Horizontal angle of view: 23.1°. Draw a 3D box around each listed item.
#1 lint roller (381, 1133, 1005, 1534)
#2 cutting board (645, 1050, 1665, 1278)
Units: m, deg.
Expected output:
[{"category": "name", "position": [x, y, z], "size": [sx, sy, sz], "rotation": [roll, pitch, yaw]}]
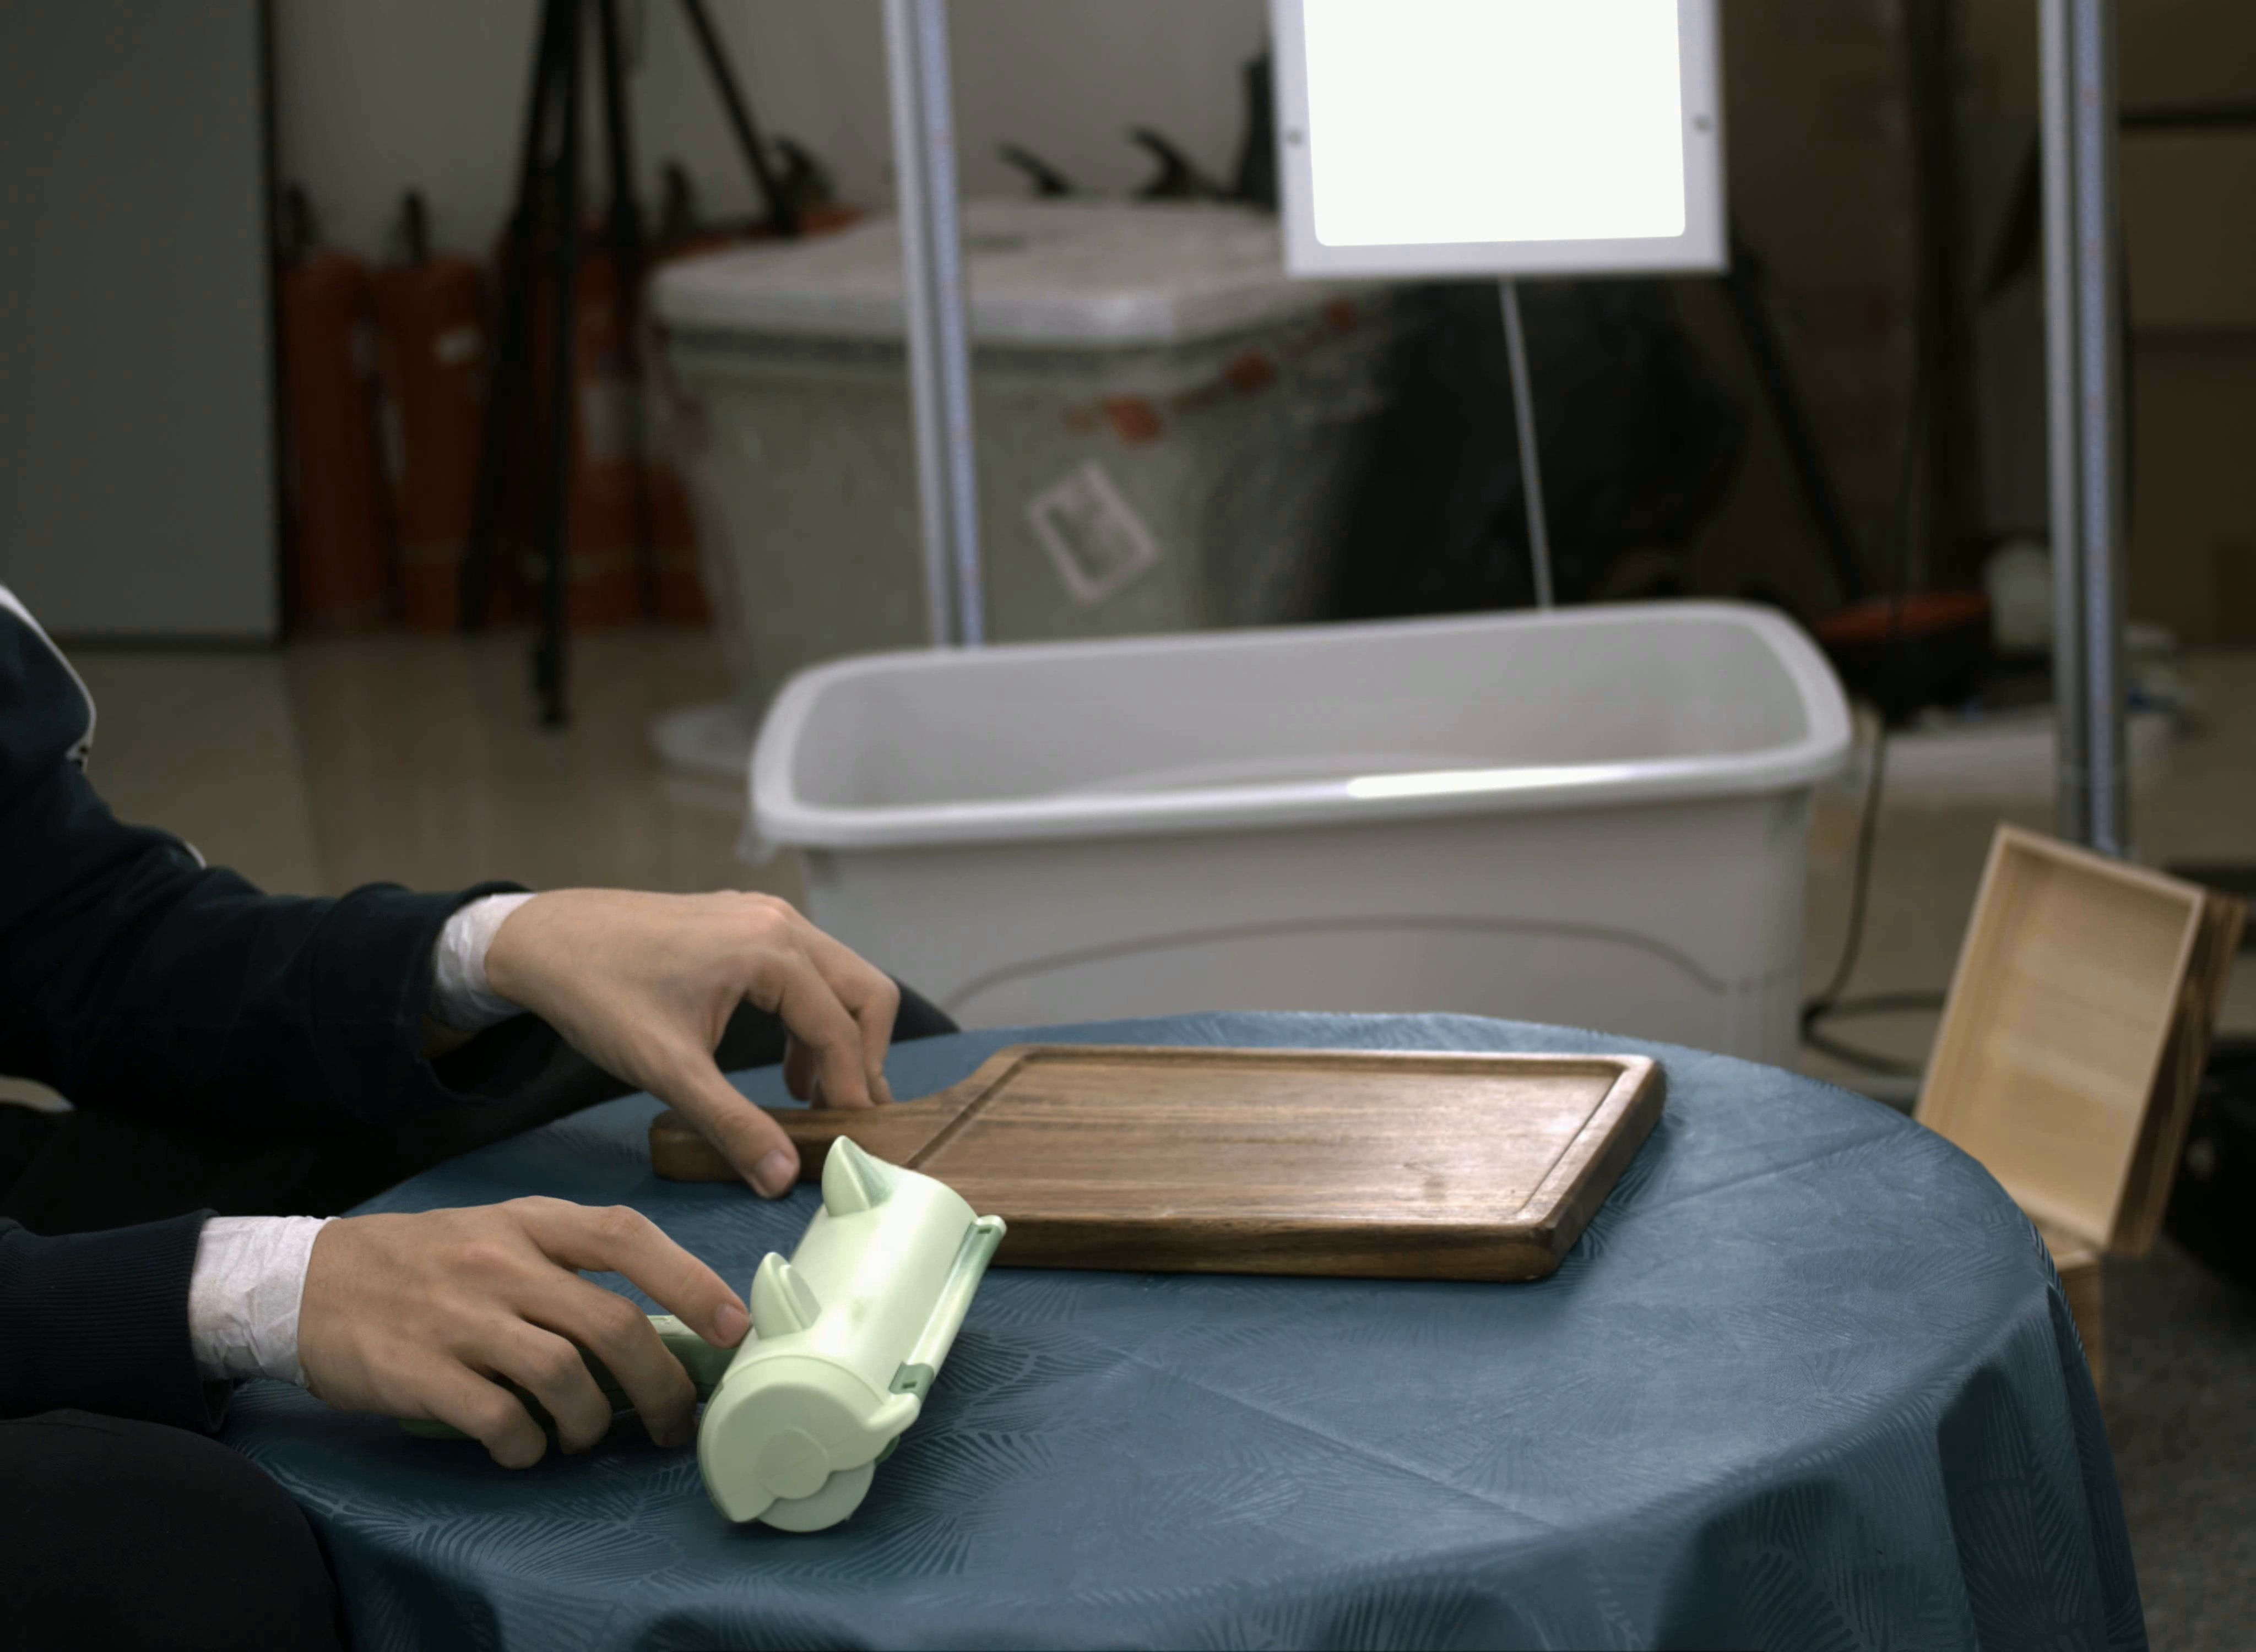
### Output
[{"category": "lint roller", "position": [-0.141, 0.150, 1.692], "size": [0.184, 0.082, 0.197], "rotation": [1, 15, 9]}, {"category": "cutting board", "position": [-0.001, 0.114, 1.906], "size": [0.356, 0.023, 0.198], "rotation": [-1, 14, 19]}]
